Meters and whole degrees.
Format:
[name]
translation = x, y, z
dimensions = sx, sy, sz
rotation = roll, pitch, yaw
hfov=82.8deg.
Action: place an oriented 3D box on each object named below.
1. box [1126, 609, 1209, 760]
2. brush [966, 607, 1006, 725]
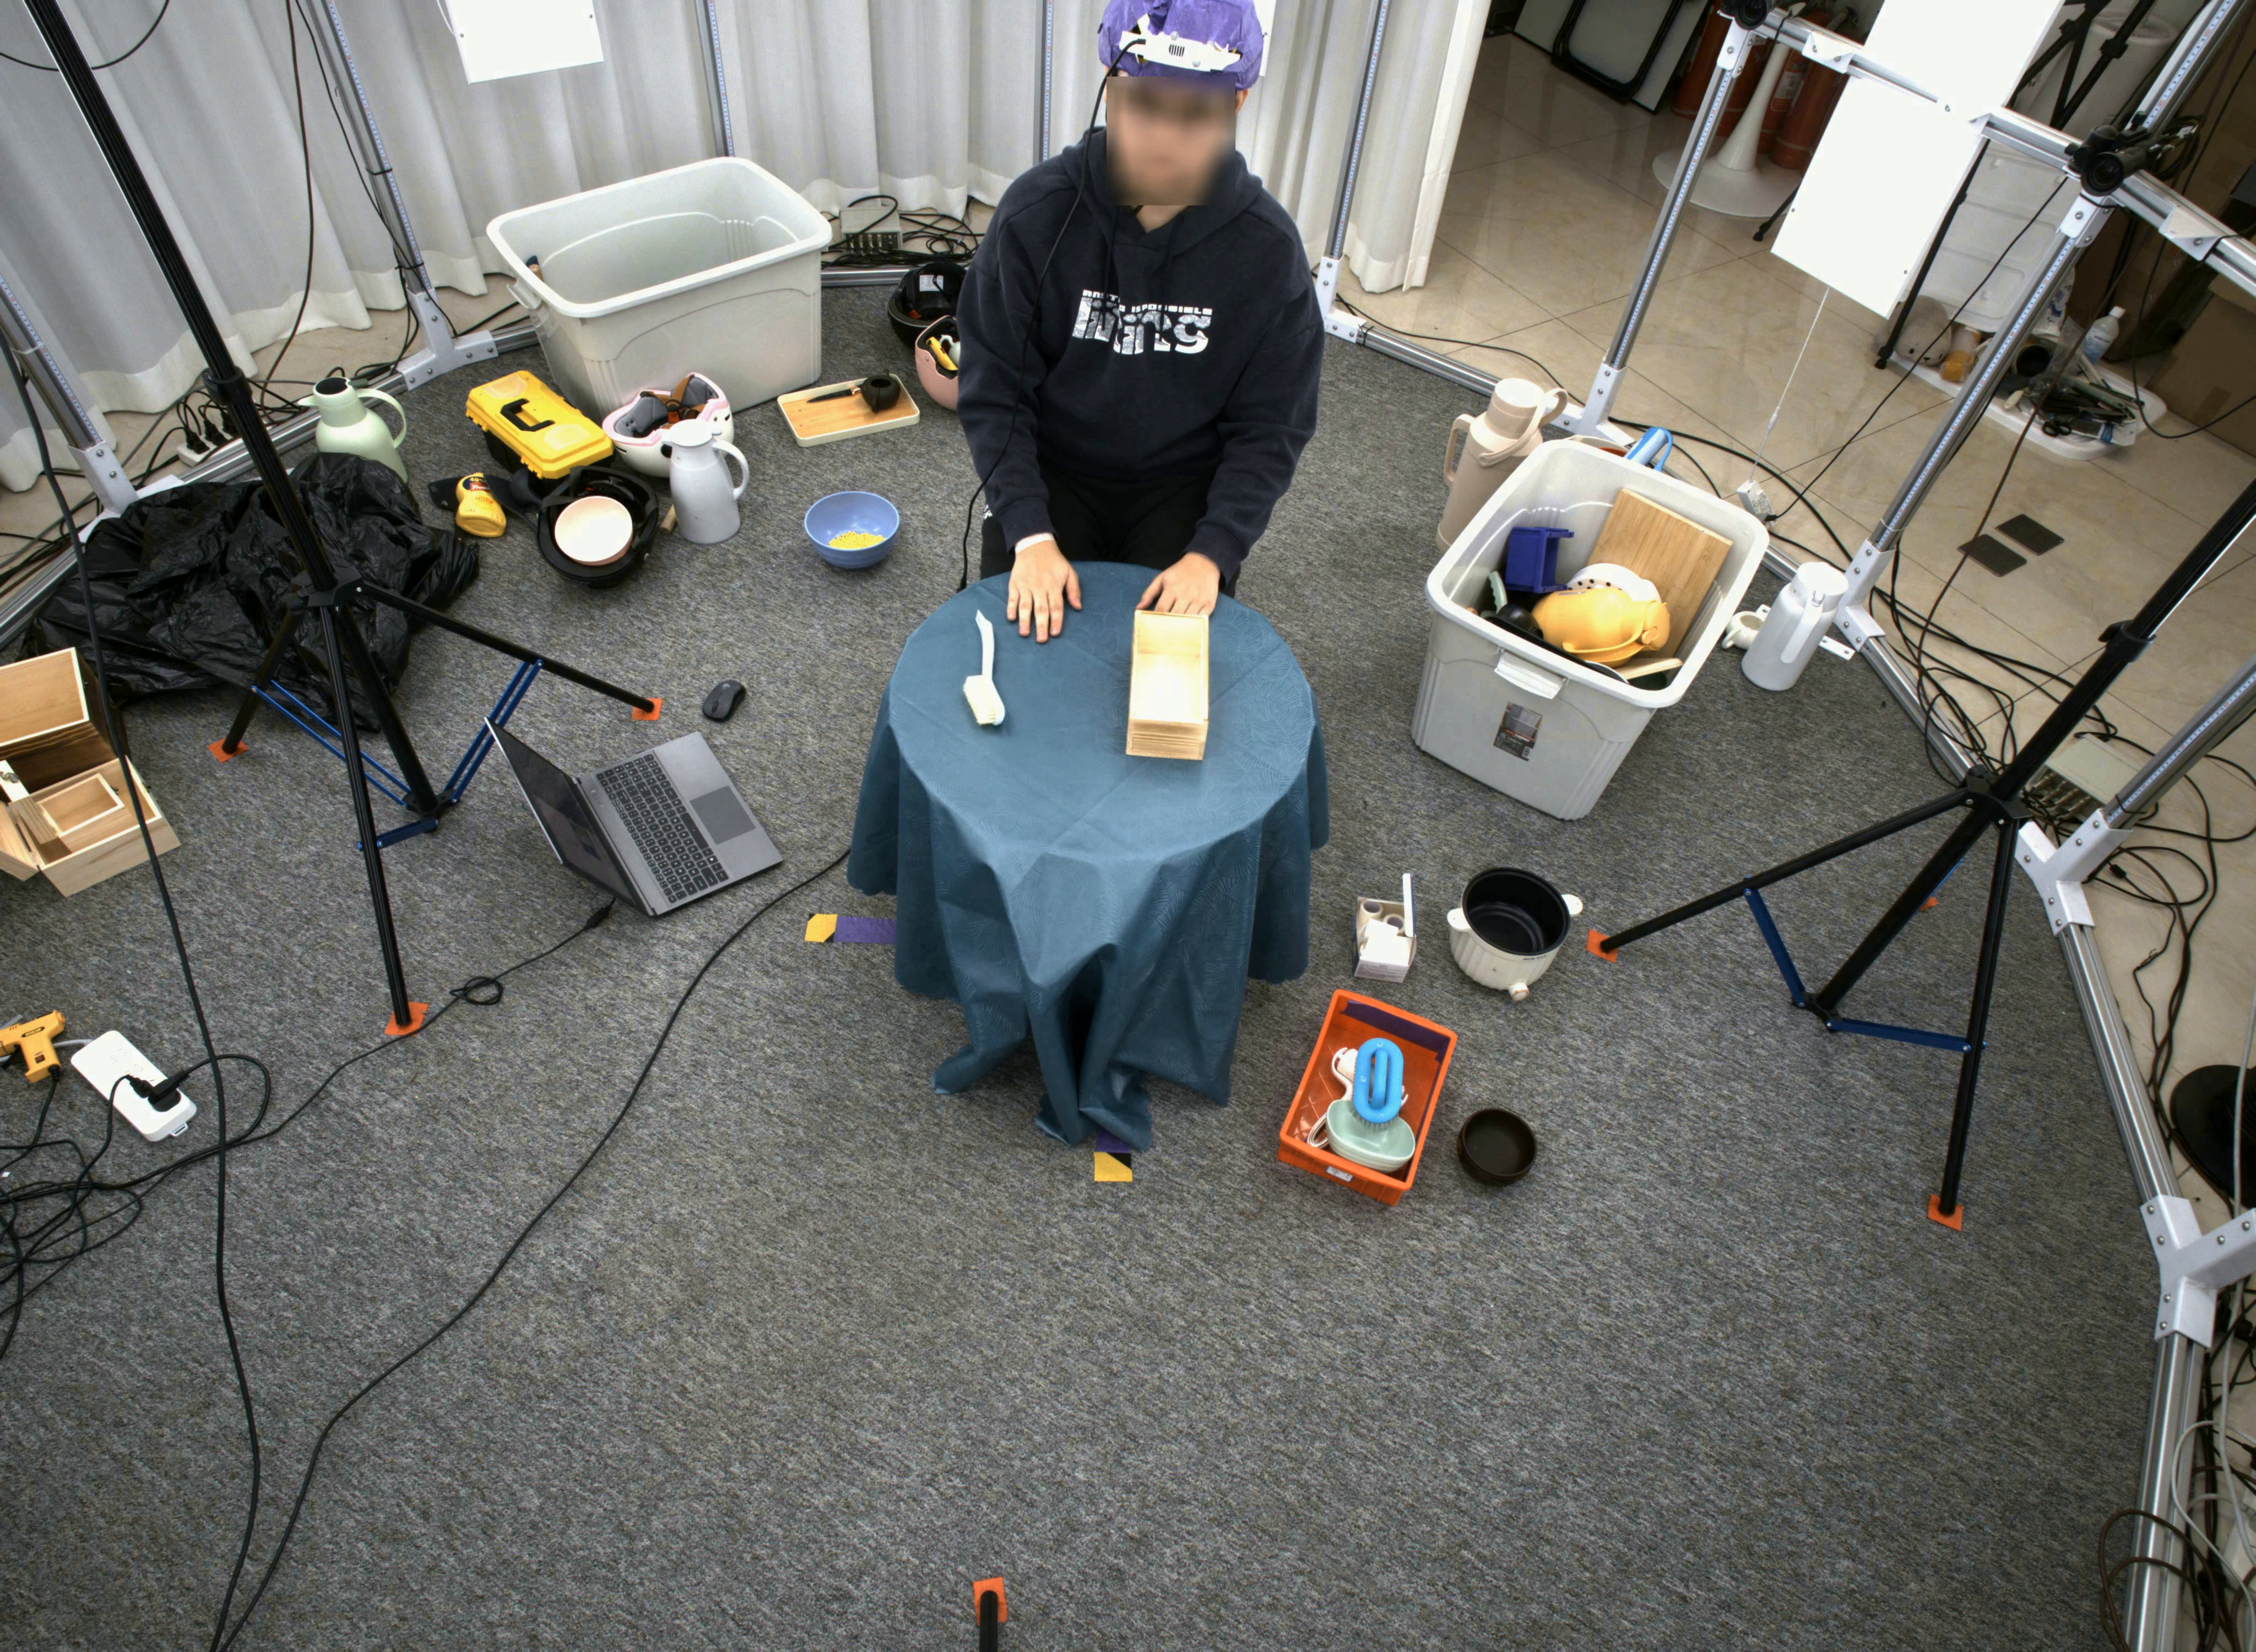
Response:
[box]
translation = 0.056, -0.201, 1.792
dimensions = 0.107, 0.078, 0.216
rotation = 4, 49, -2
[brush]
translation = -0.208, -0.231, 1.825
dimensions = 0.049, 0.037, 0.234
rotation = 0, 49, -14
